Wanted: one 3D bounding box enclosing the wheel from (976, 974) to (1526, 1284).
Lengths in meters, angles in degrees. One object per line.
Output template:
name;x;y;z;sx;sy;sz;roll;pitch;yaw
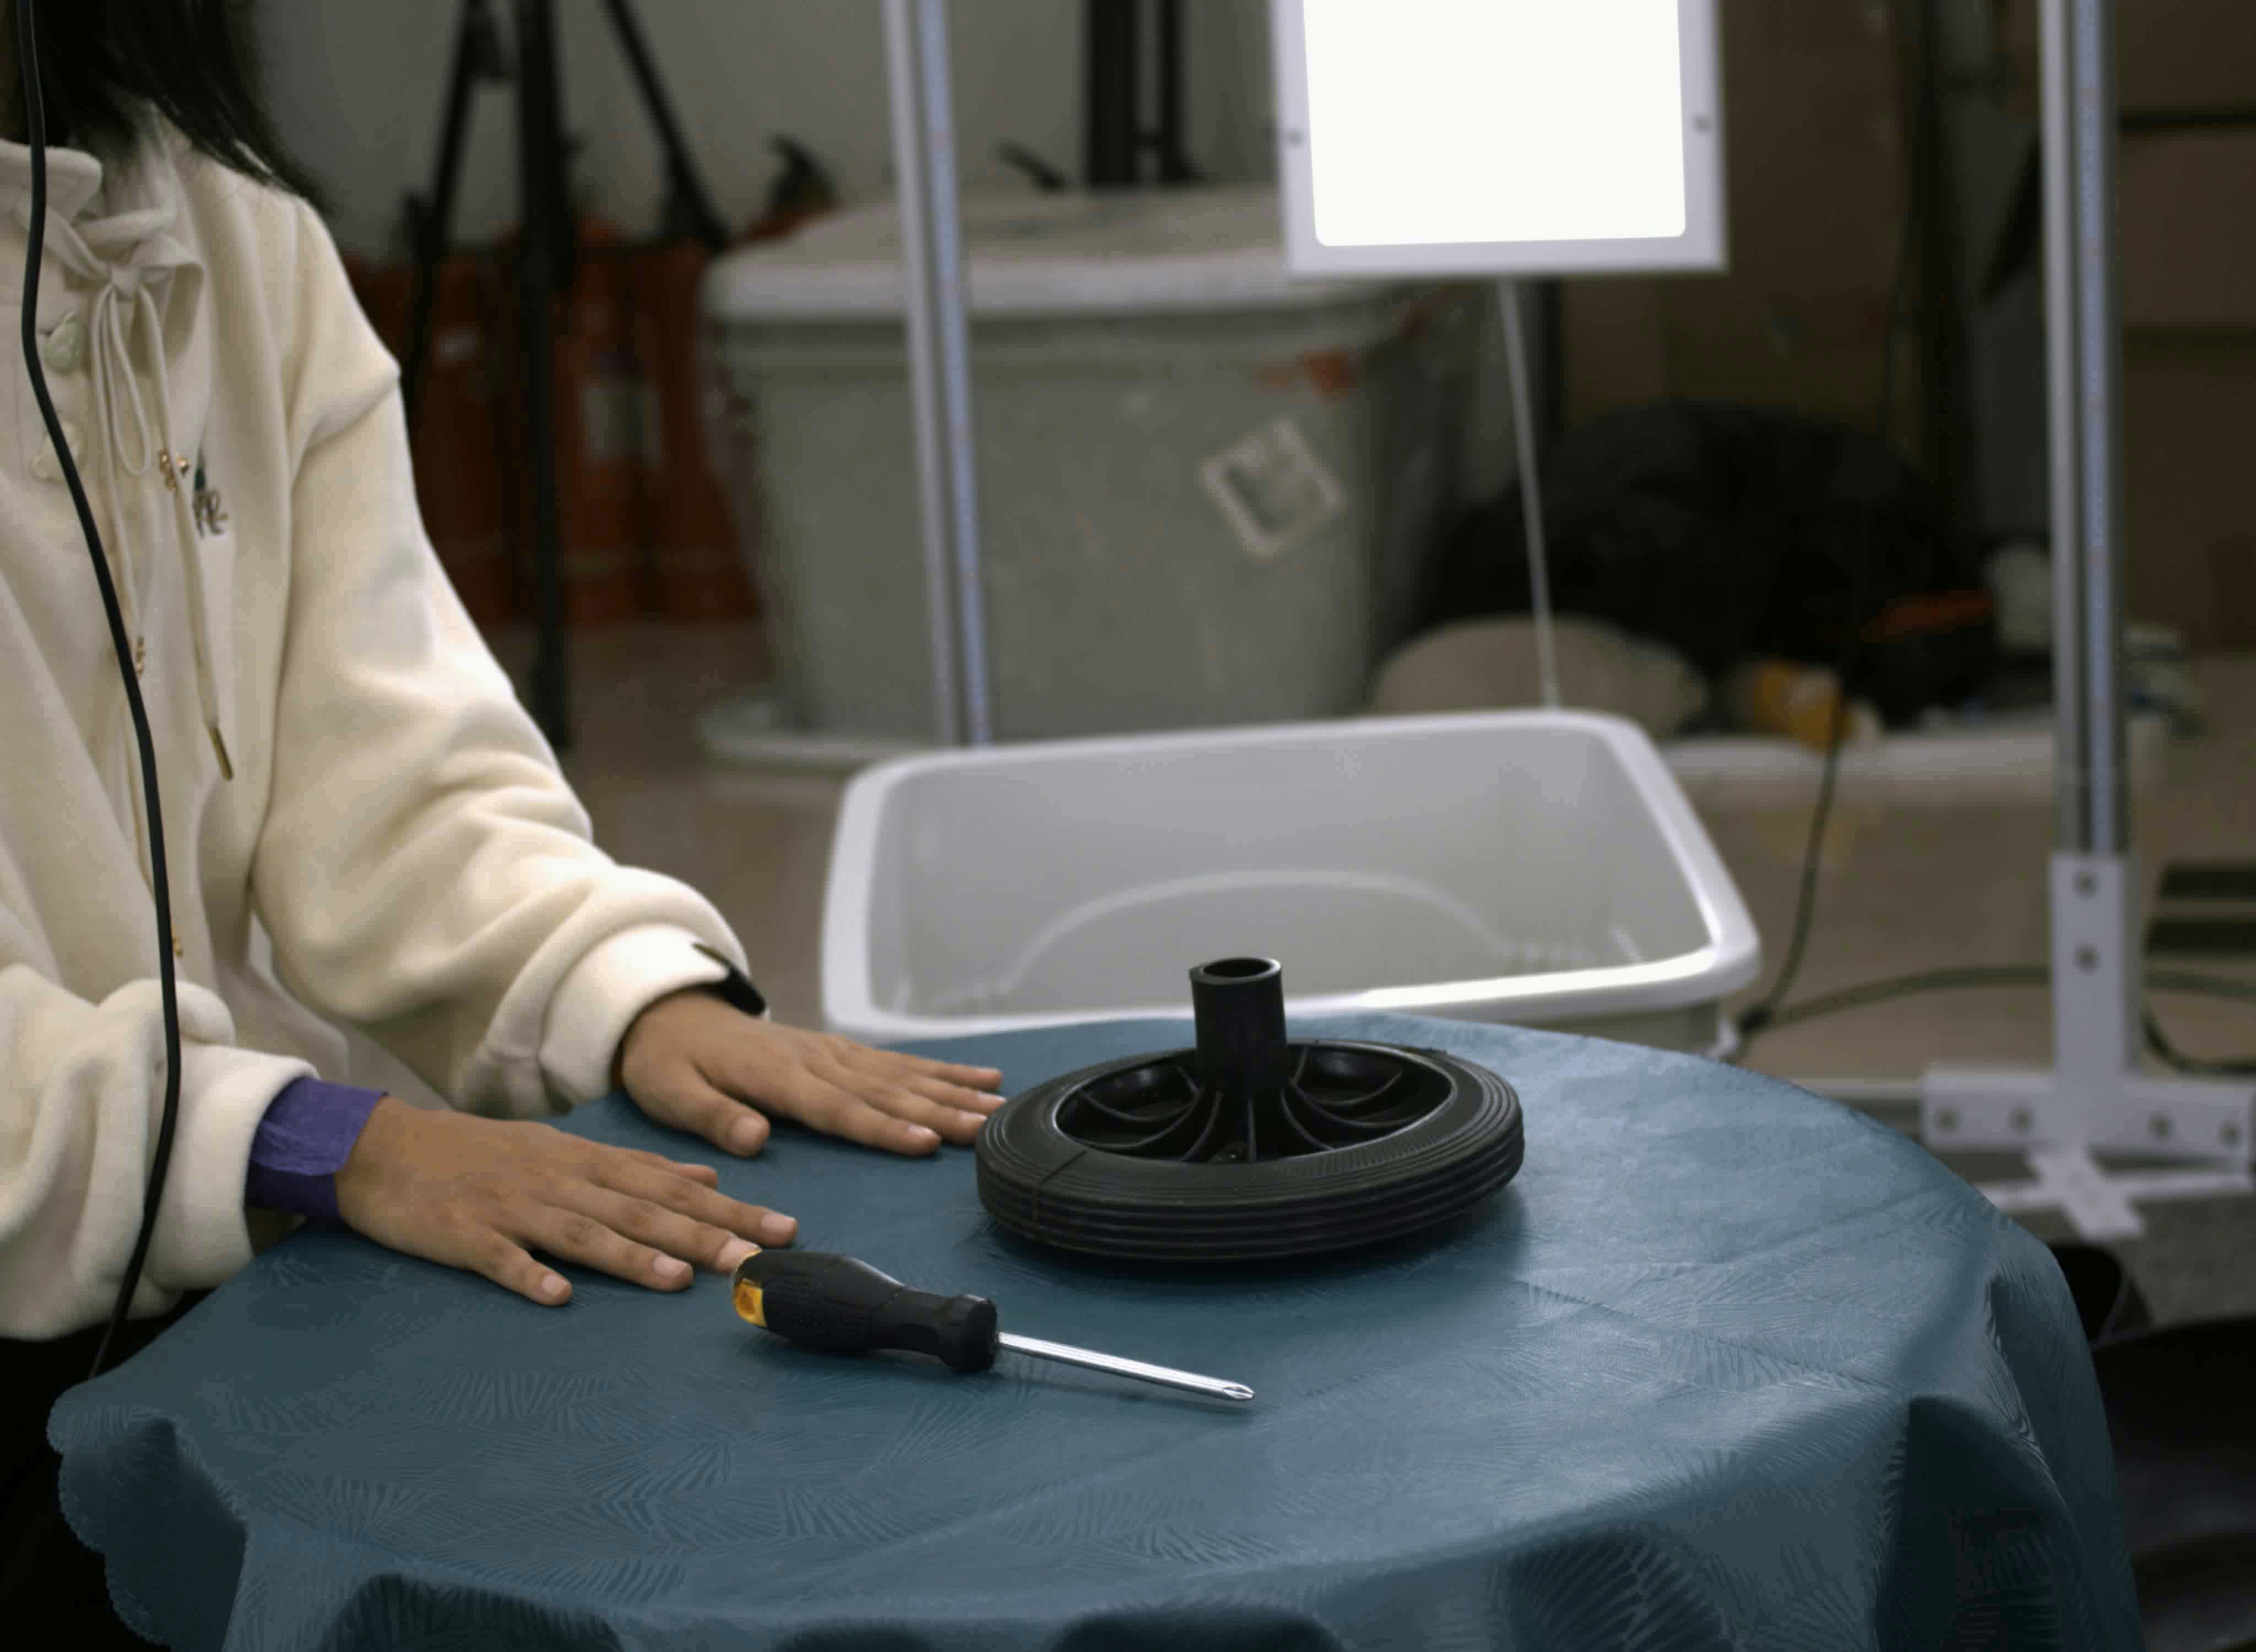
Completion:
wheel;0.040;0.093;1.867;0.187;0.079;0.190;-6;17;-2

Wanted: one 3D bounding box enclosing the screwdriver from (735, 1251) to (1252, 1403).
screwdriver;-0.041;0.159;1.731;0.200;0.031;0.031;7;17;33
